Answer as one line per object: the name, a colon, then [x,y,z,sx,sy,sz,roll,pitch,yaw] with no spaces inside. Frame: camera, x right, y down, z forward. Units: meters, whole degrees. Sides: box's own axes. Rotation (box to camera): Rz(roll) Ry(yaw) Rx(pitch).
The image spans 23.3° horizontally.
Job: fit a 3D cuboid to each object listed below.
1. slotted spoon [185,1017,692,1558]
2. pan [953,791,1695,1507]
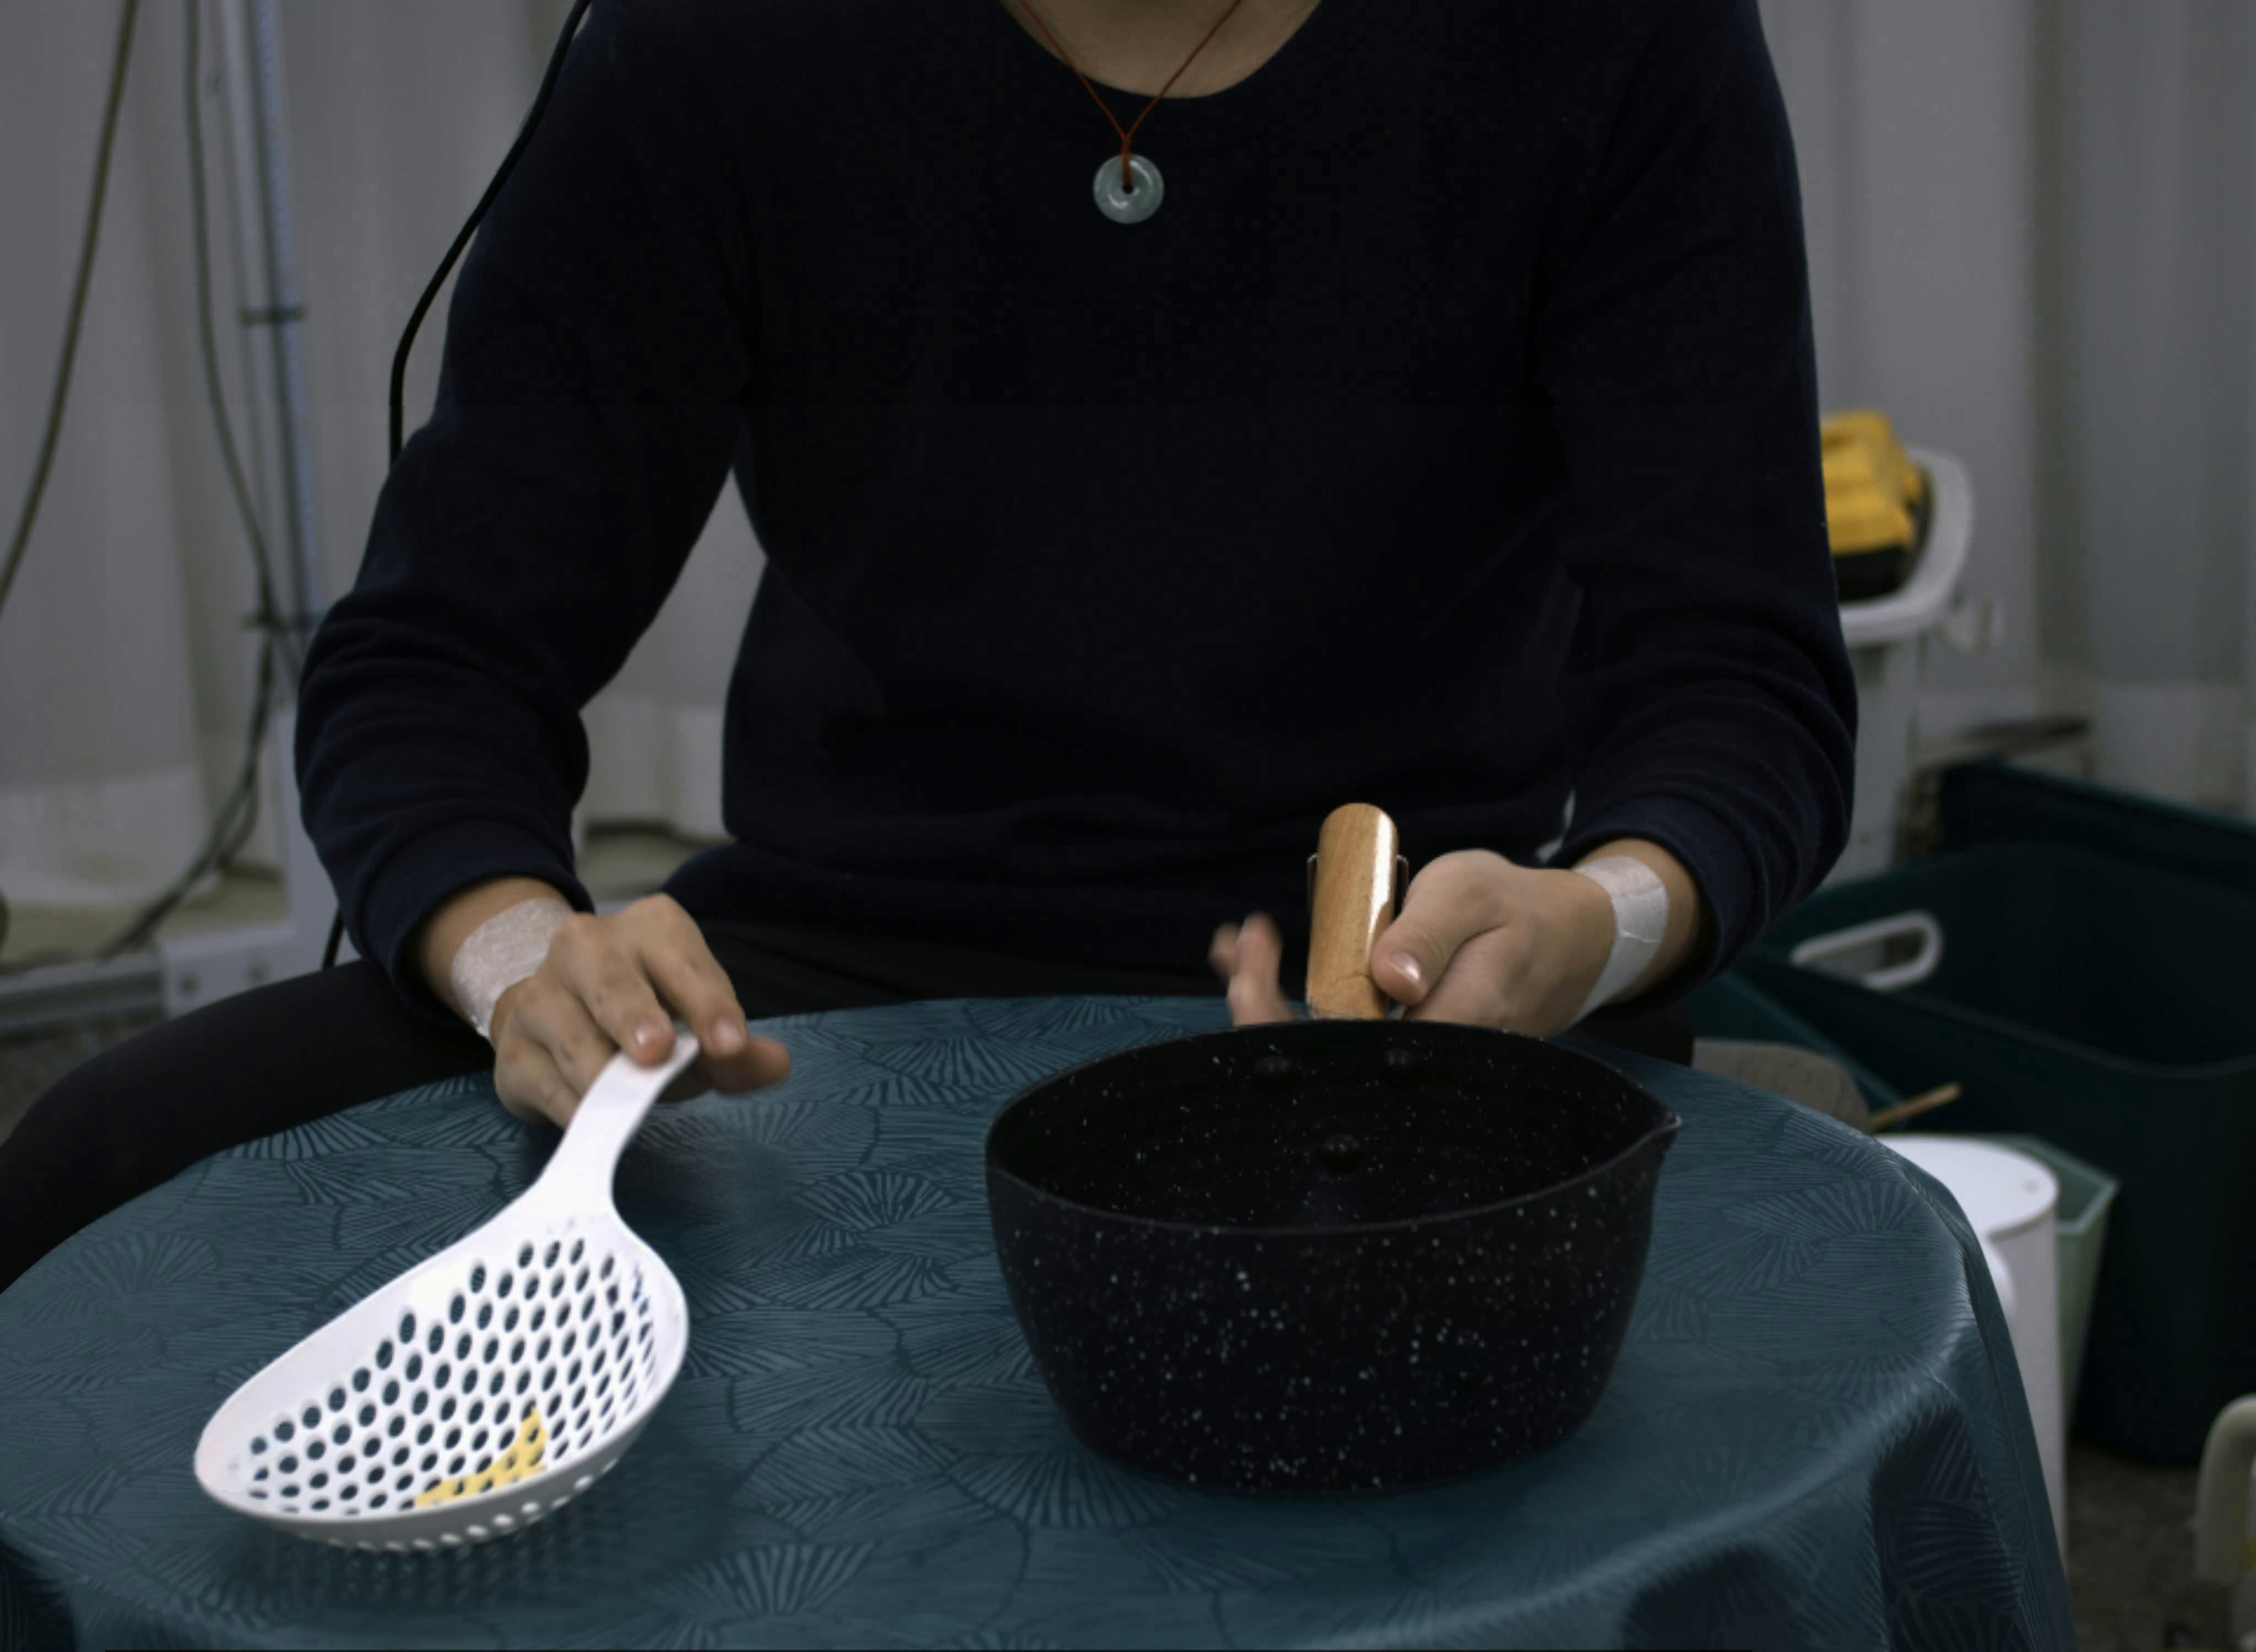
slotted spoon: [-0.165,0.119,1.571,0.136,0.050,0.351,-9,25,13]
pan: [0.060,0.088,1.593,0.207,0.108,0.345,-3,16,5]
